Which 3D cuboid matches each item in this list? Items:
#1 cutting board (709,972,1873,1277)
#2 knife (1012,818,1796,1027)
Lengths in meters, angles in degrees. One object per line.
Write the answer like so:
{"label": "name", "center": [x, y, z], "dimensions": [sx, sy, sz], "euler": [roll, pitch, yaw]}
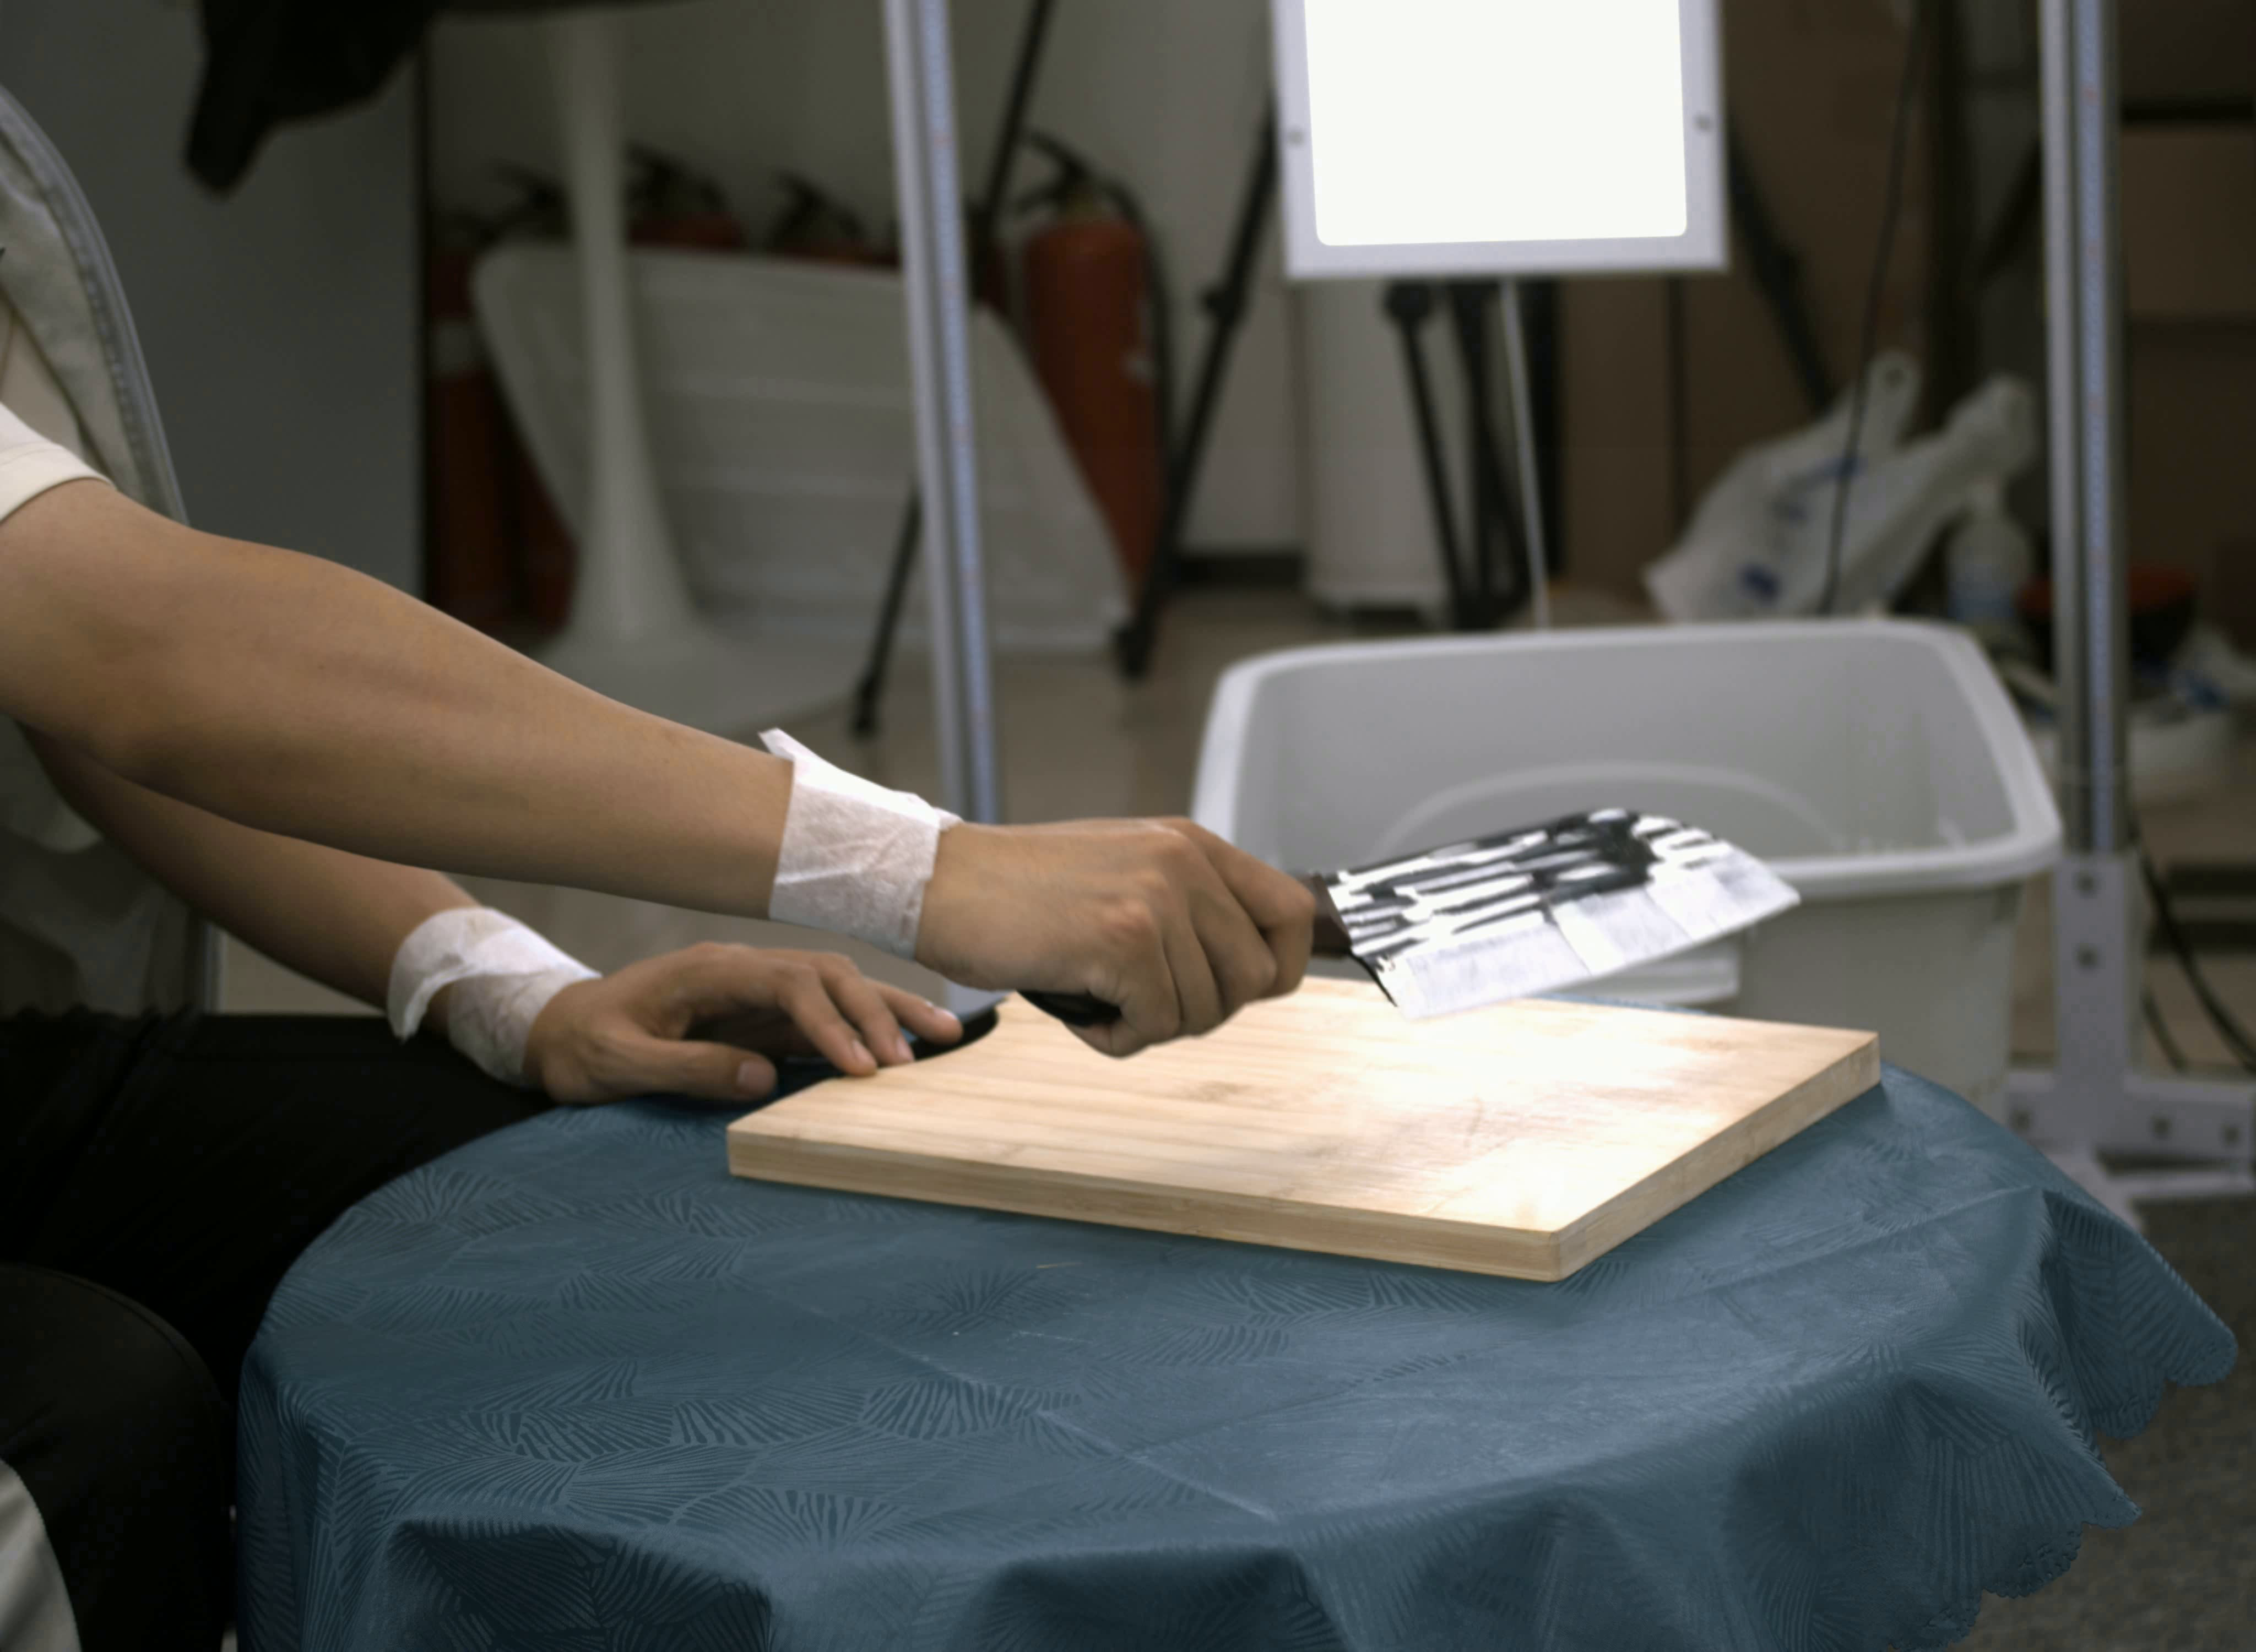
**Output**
{"label": "cutting board", "center": [0.058, 0.099, 1.955], "dimensions": [0.356, 0.023, 0.245], "euler": [4, 16, 34]}
{"label": "knife", "center": [0.099, 0.038, 1.848], "dimensions": [0.292, 0.024, 0.069], "euler": [-12, 52, -30]}
